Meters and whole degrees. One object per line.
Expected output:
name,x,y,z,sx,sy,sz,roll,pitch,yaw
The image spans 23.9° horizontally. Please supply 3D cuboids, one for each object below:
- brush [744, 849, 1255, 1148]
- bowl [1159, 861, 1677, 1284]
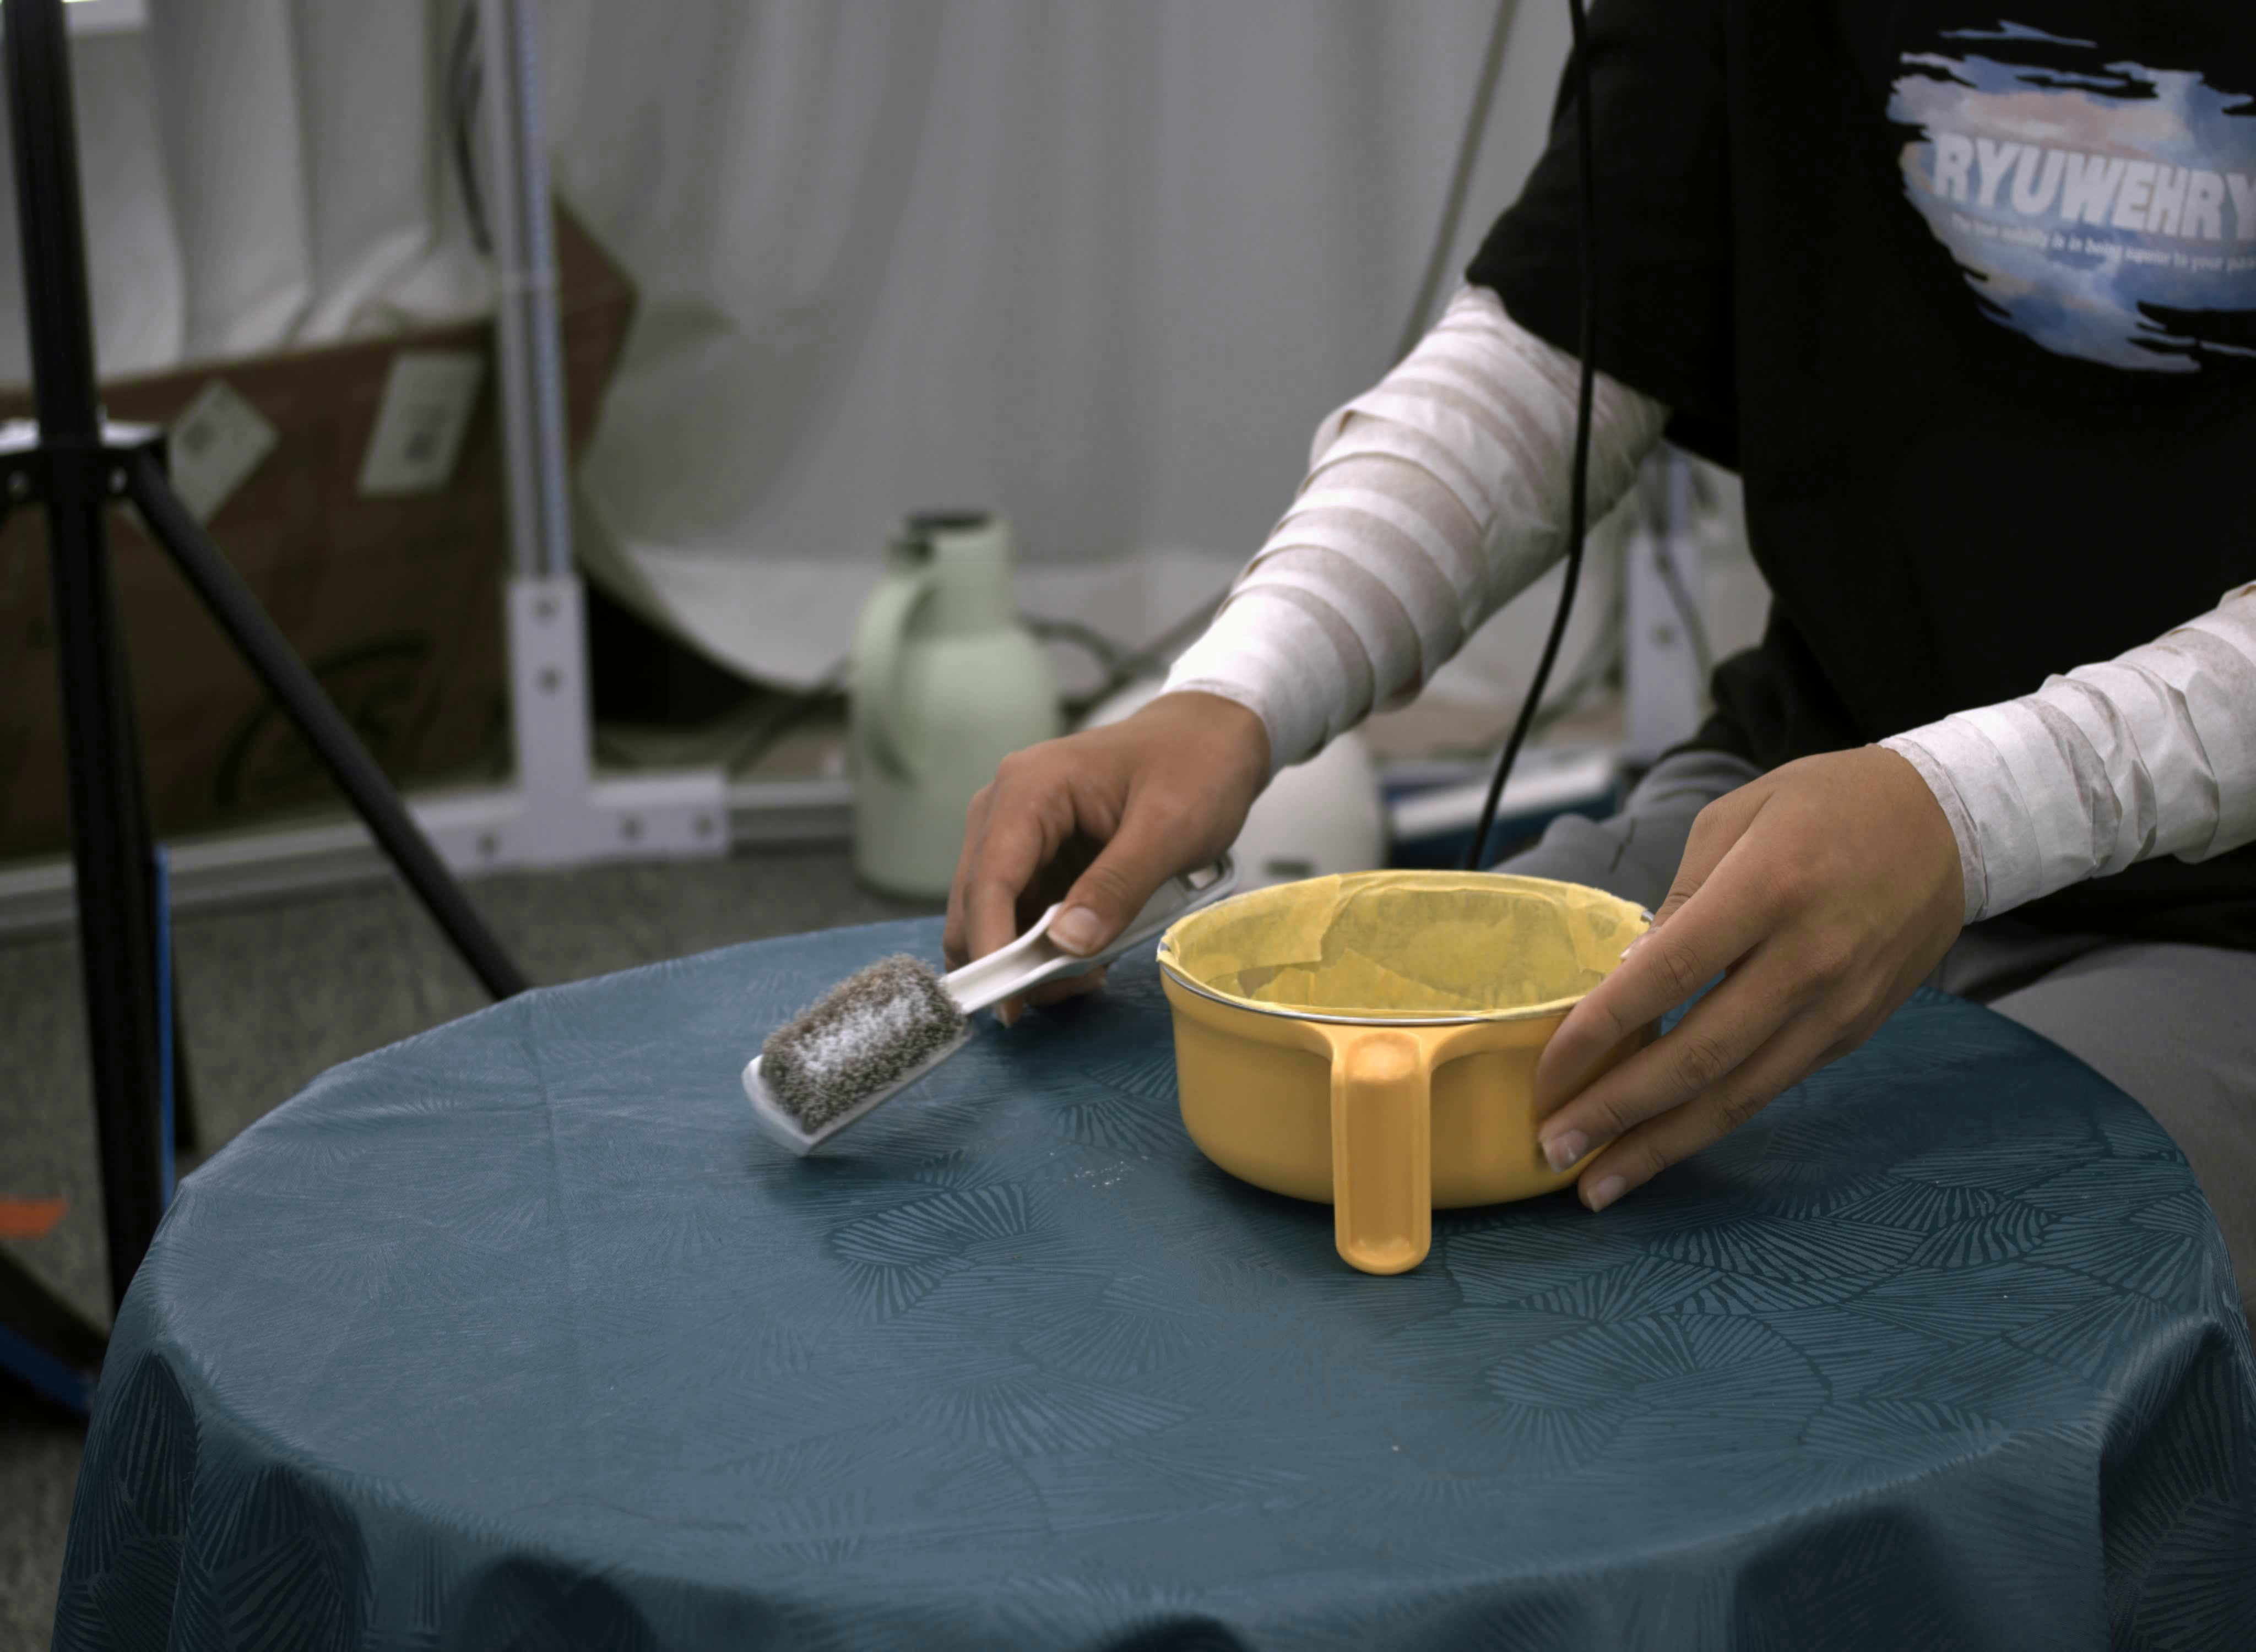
brush,-0.028,0.042,1.665,0.239,0.035,0.051,-25,-15,-44
bowl,0.083,0.069,1.559,0.153,0.074,0.179,4,17,6
